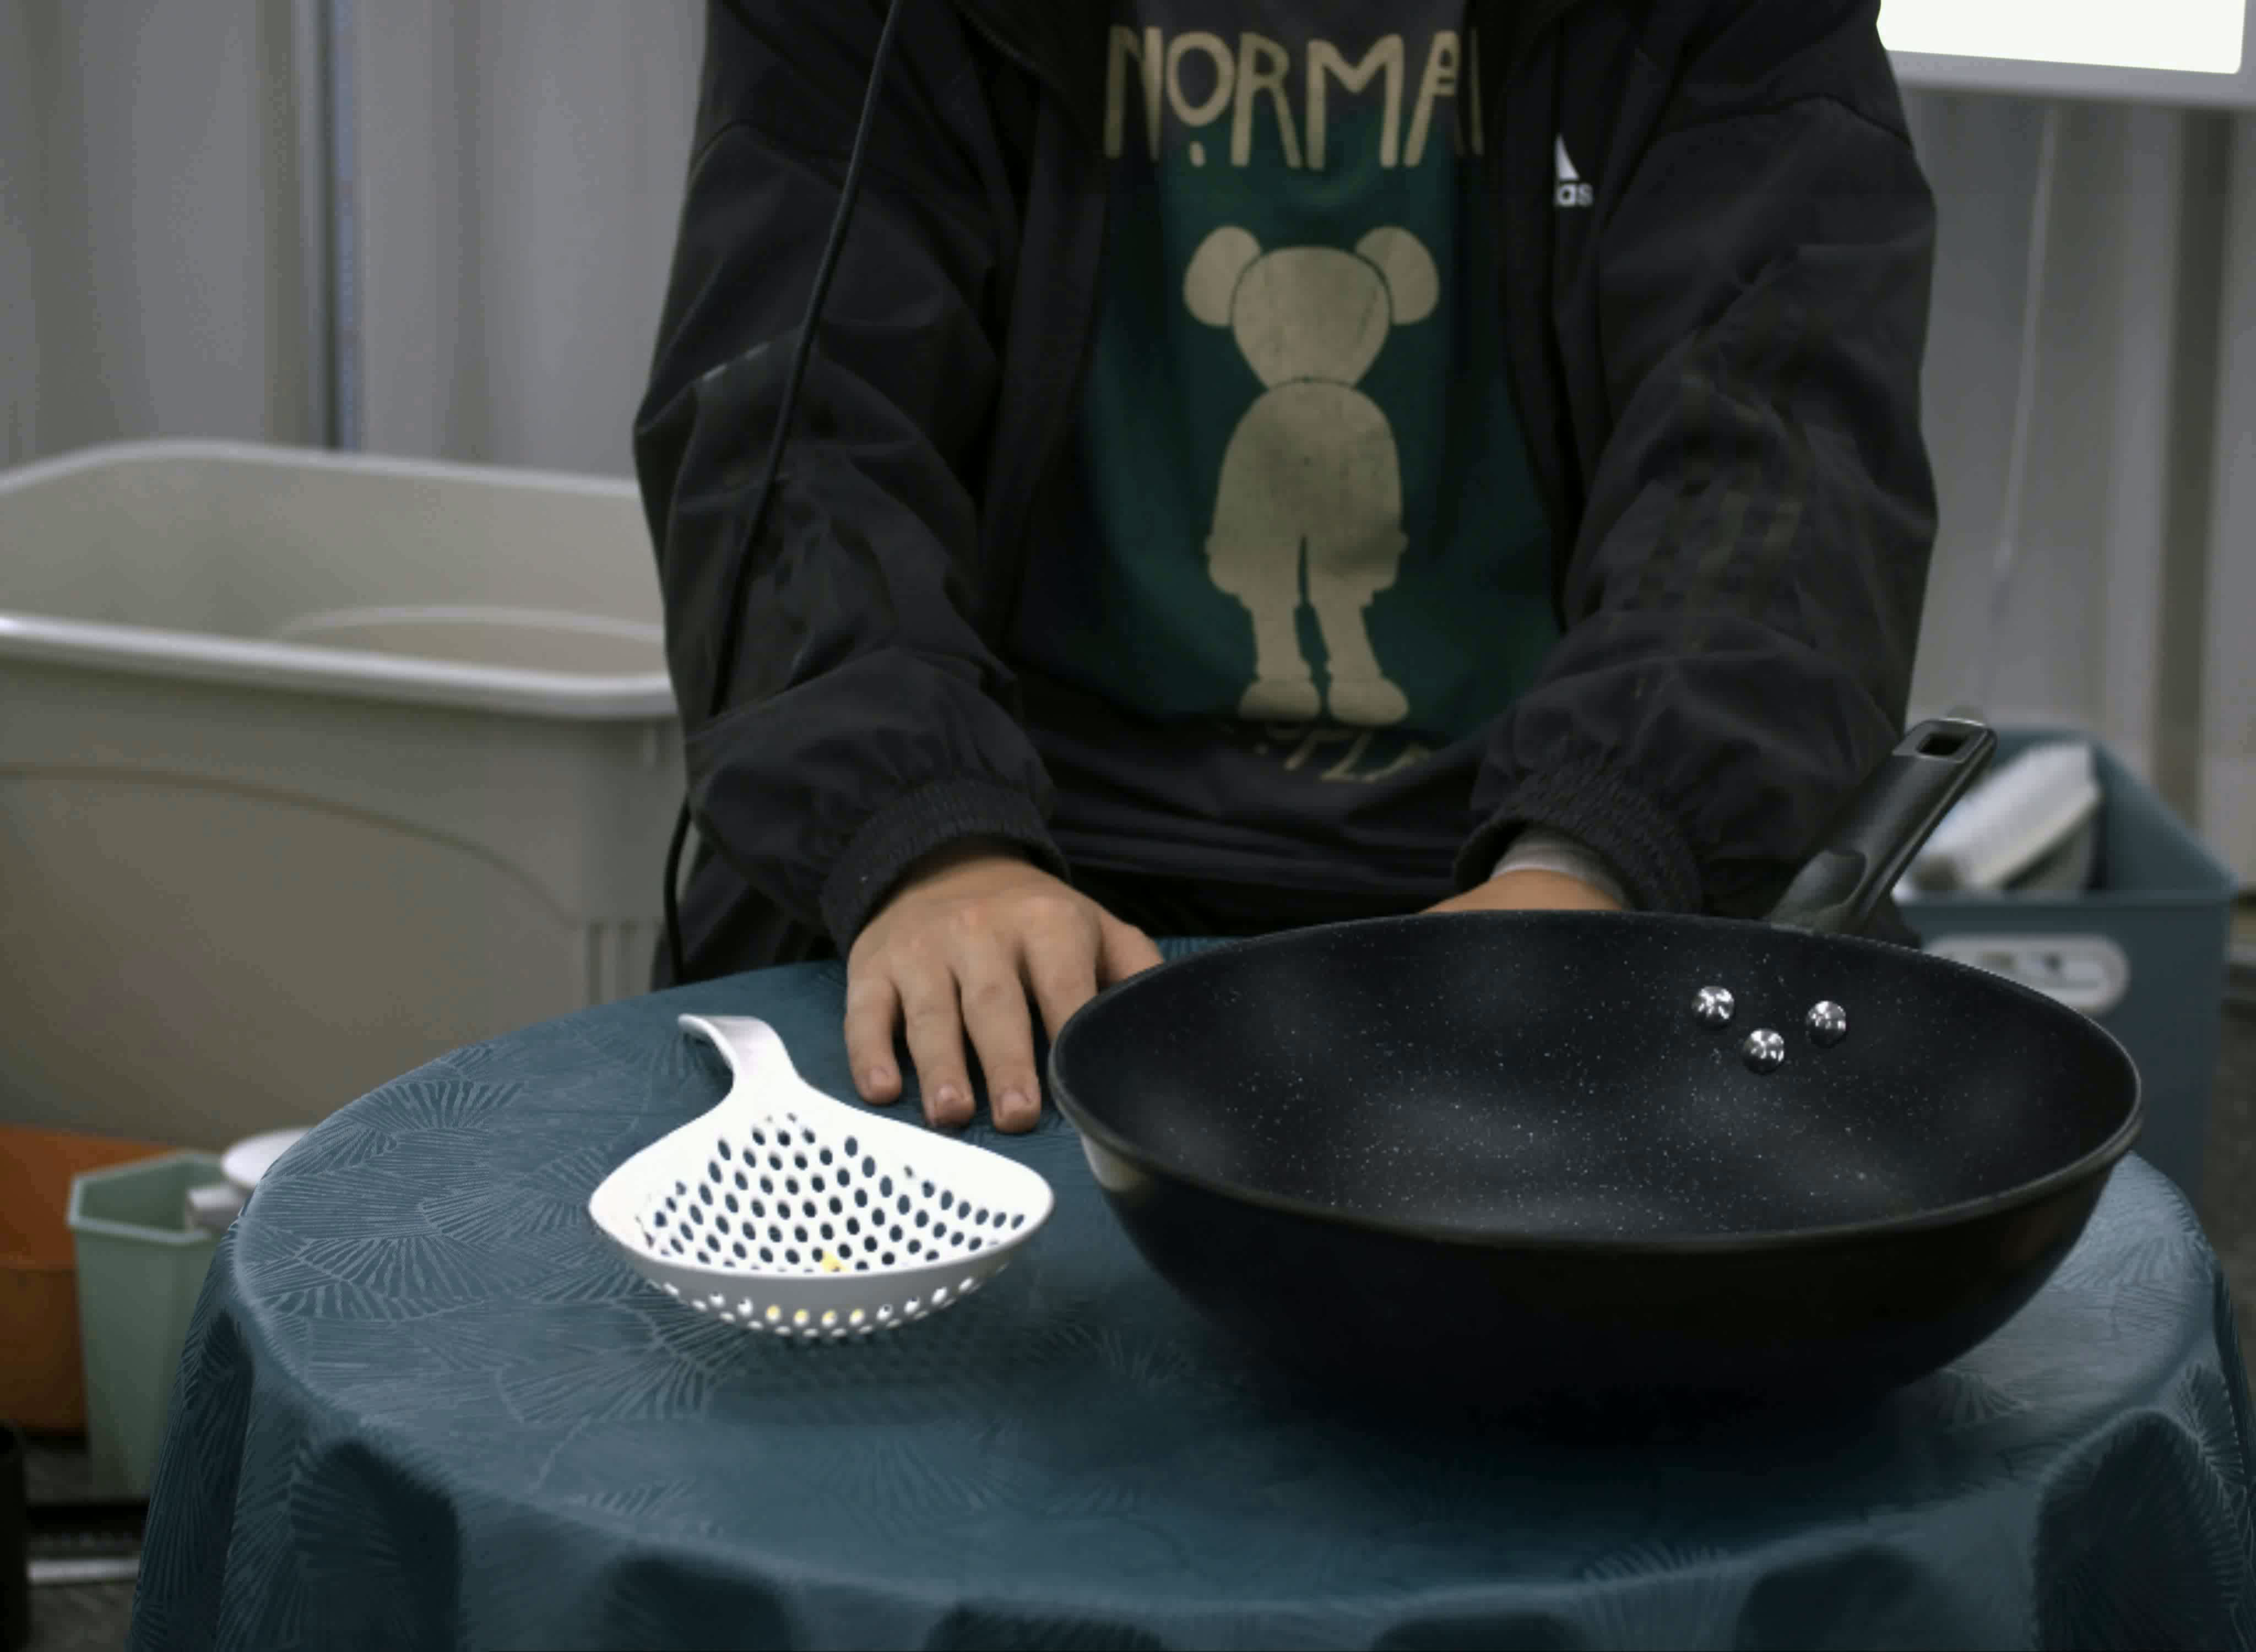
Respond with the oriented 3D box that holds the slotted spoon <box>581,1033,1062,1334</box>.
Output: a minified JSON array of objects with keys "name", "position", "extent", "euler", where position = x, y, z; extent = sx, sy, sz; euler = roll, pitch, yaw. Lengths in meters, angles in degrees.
[{"name":"slotted spoon","position":[-0.107,0.095,1.608],"extent":[0.137,0.051,0.345],"euler":[-4,16,-10]}]

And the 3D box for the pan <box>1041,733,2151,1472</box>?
[{"name":"pan","position":[0.167,0.079,1.554],"extent":[0.307,0.112,0.478],"euler":[9,18,25]}]
